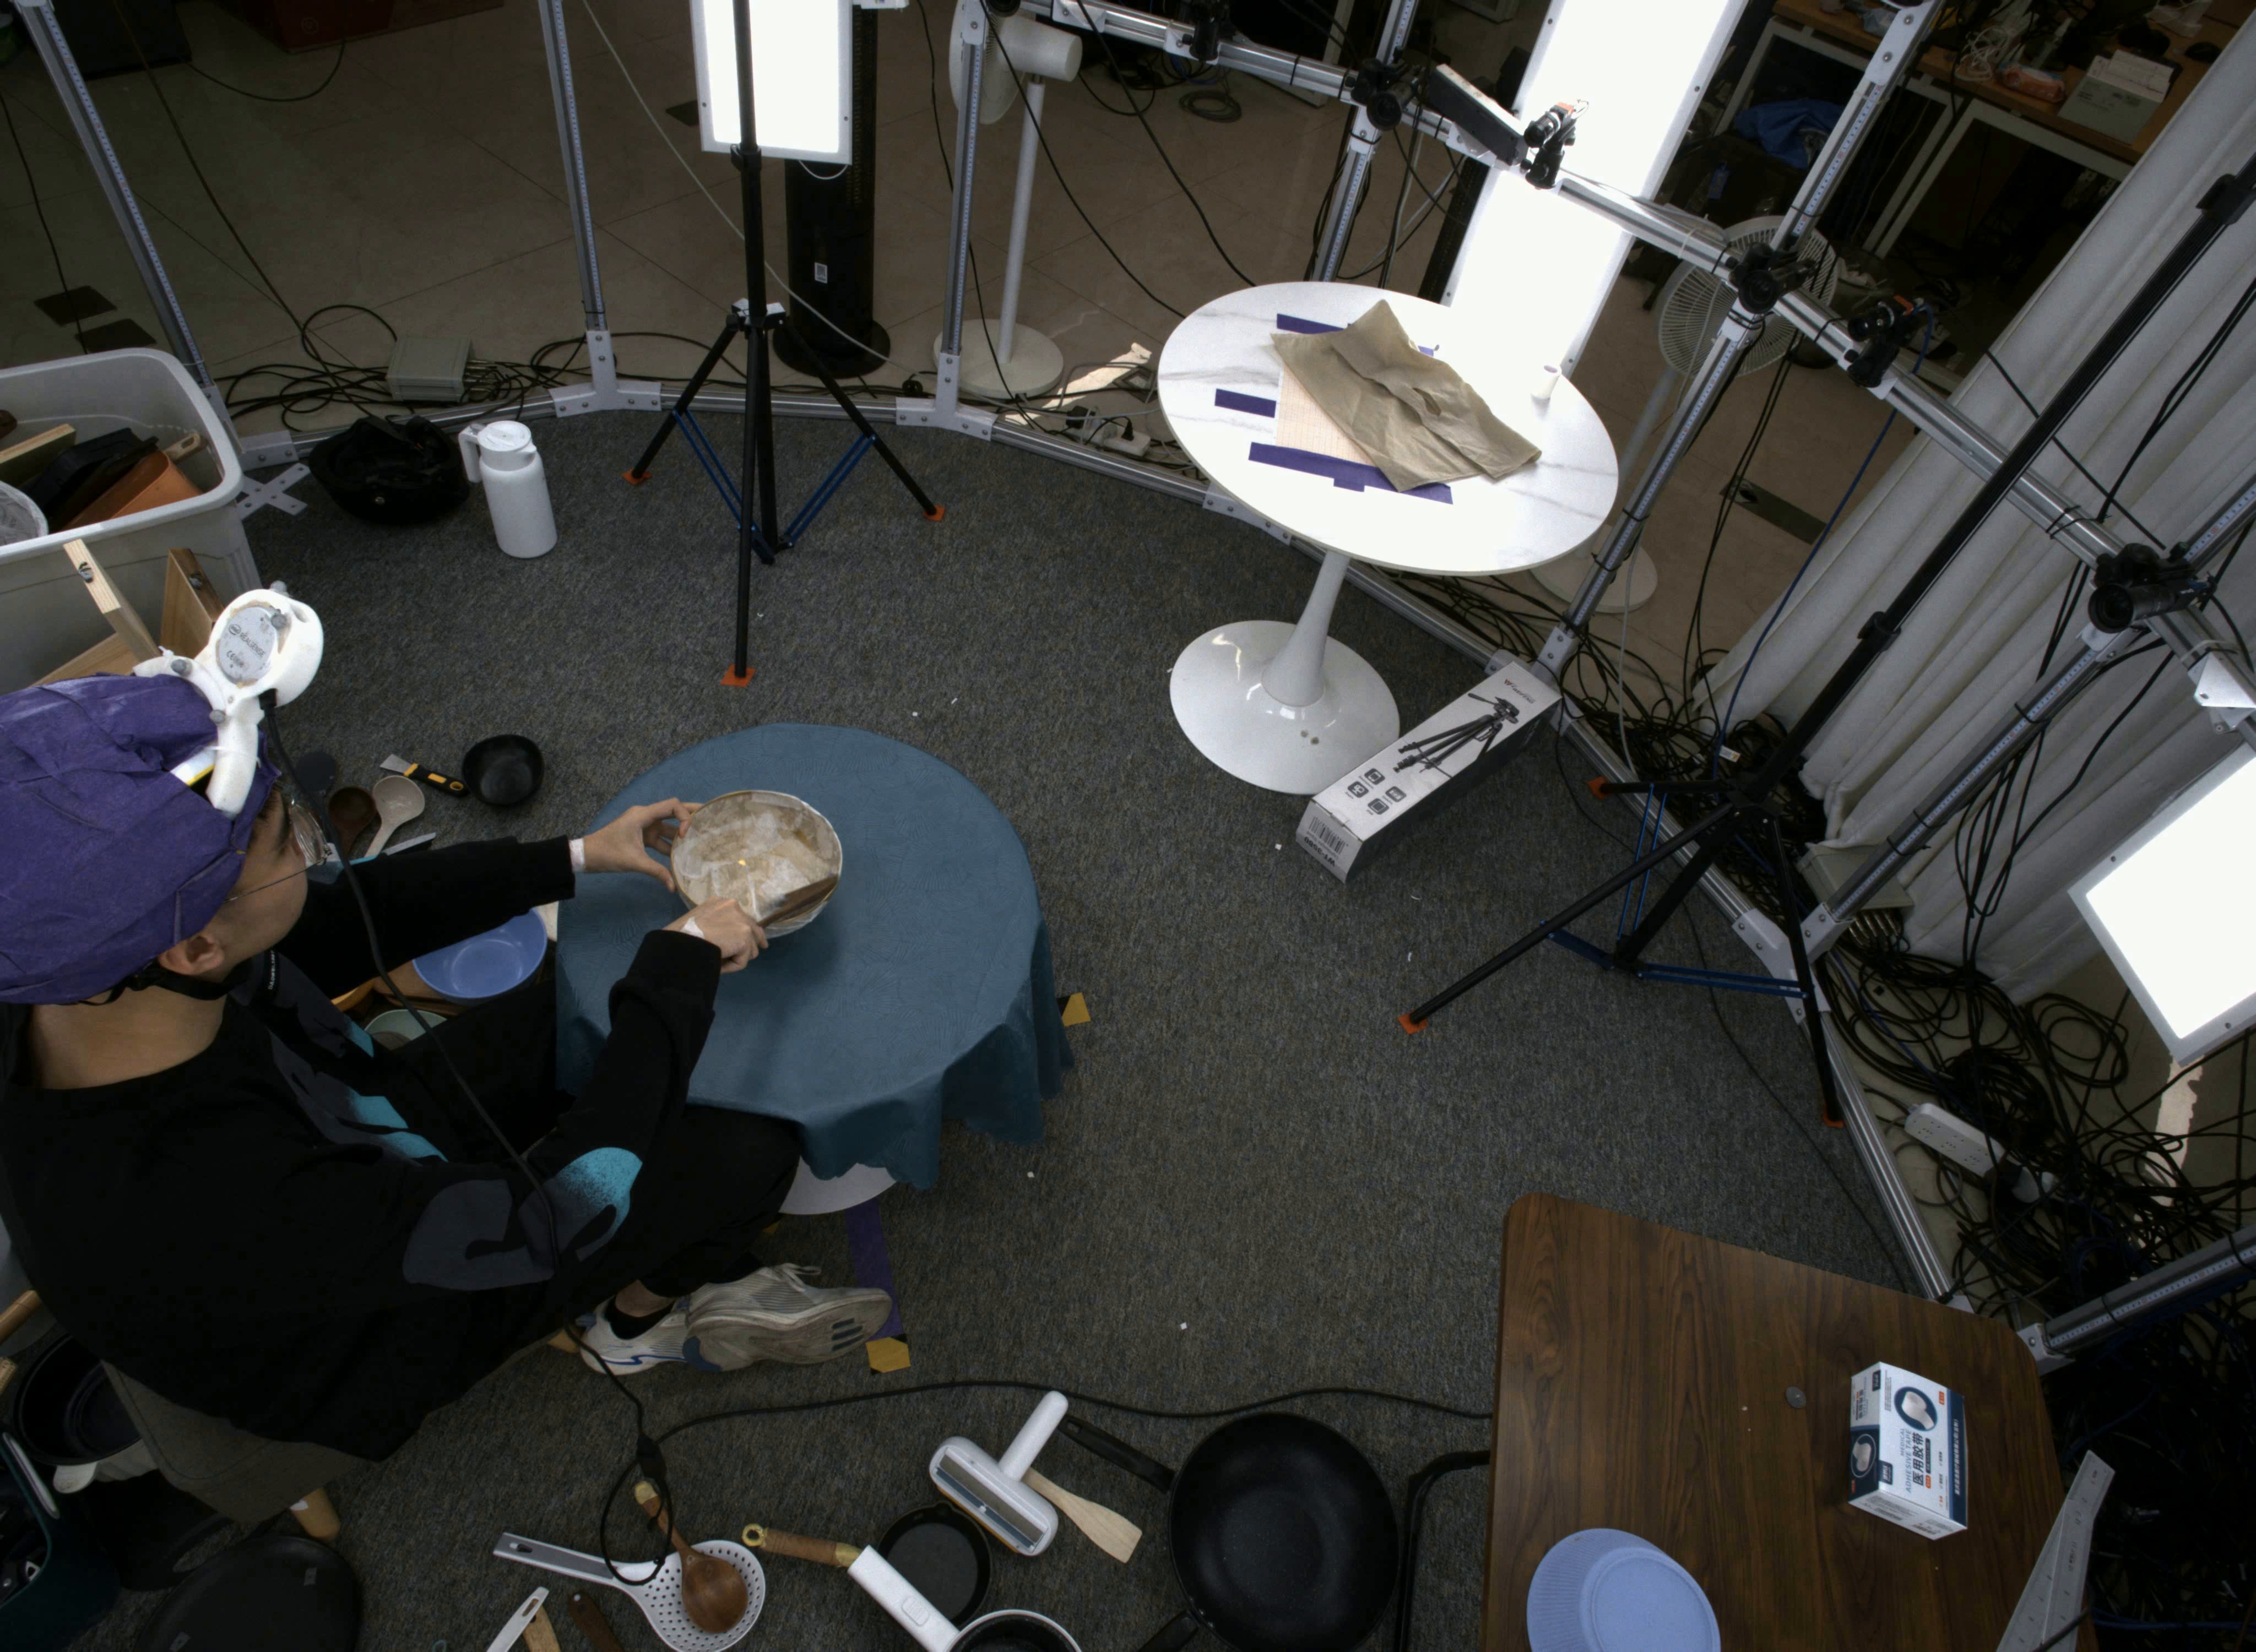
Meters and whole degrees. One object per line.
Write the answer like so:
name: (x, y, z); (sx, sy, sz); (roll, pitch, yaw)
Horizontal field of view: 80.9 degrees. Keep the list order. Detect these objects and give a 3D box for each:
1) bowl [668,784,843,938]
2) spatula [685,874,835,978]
bowl: (-0.459, 0.057, 1.587); (0.215, 0.096, 0.211); (11, 54, -13)
spatula: (-0.408, 0.107, 1.424); (0.095, 0.383, 0.016); (-23, 96, 6)
